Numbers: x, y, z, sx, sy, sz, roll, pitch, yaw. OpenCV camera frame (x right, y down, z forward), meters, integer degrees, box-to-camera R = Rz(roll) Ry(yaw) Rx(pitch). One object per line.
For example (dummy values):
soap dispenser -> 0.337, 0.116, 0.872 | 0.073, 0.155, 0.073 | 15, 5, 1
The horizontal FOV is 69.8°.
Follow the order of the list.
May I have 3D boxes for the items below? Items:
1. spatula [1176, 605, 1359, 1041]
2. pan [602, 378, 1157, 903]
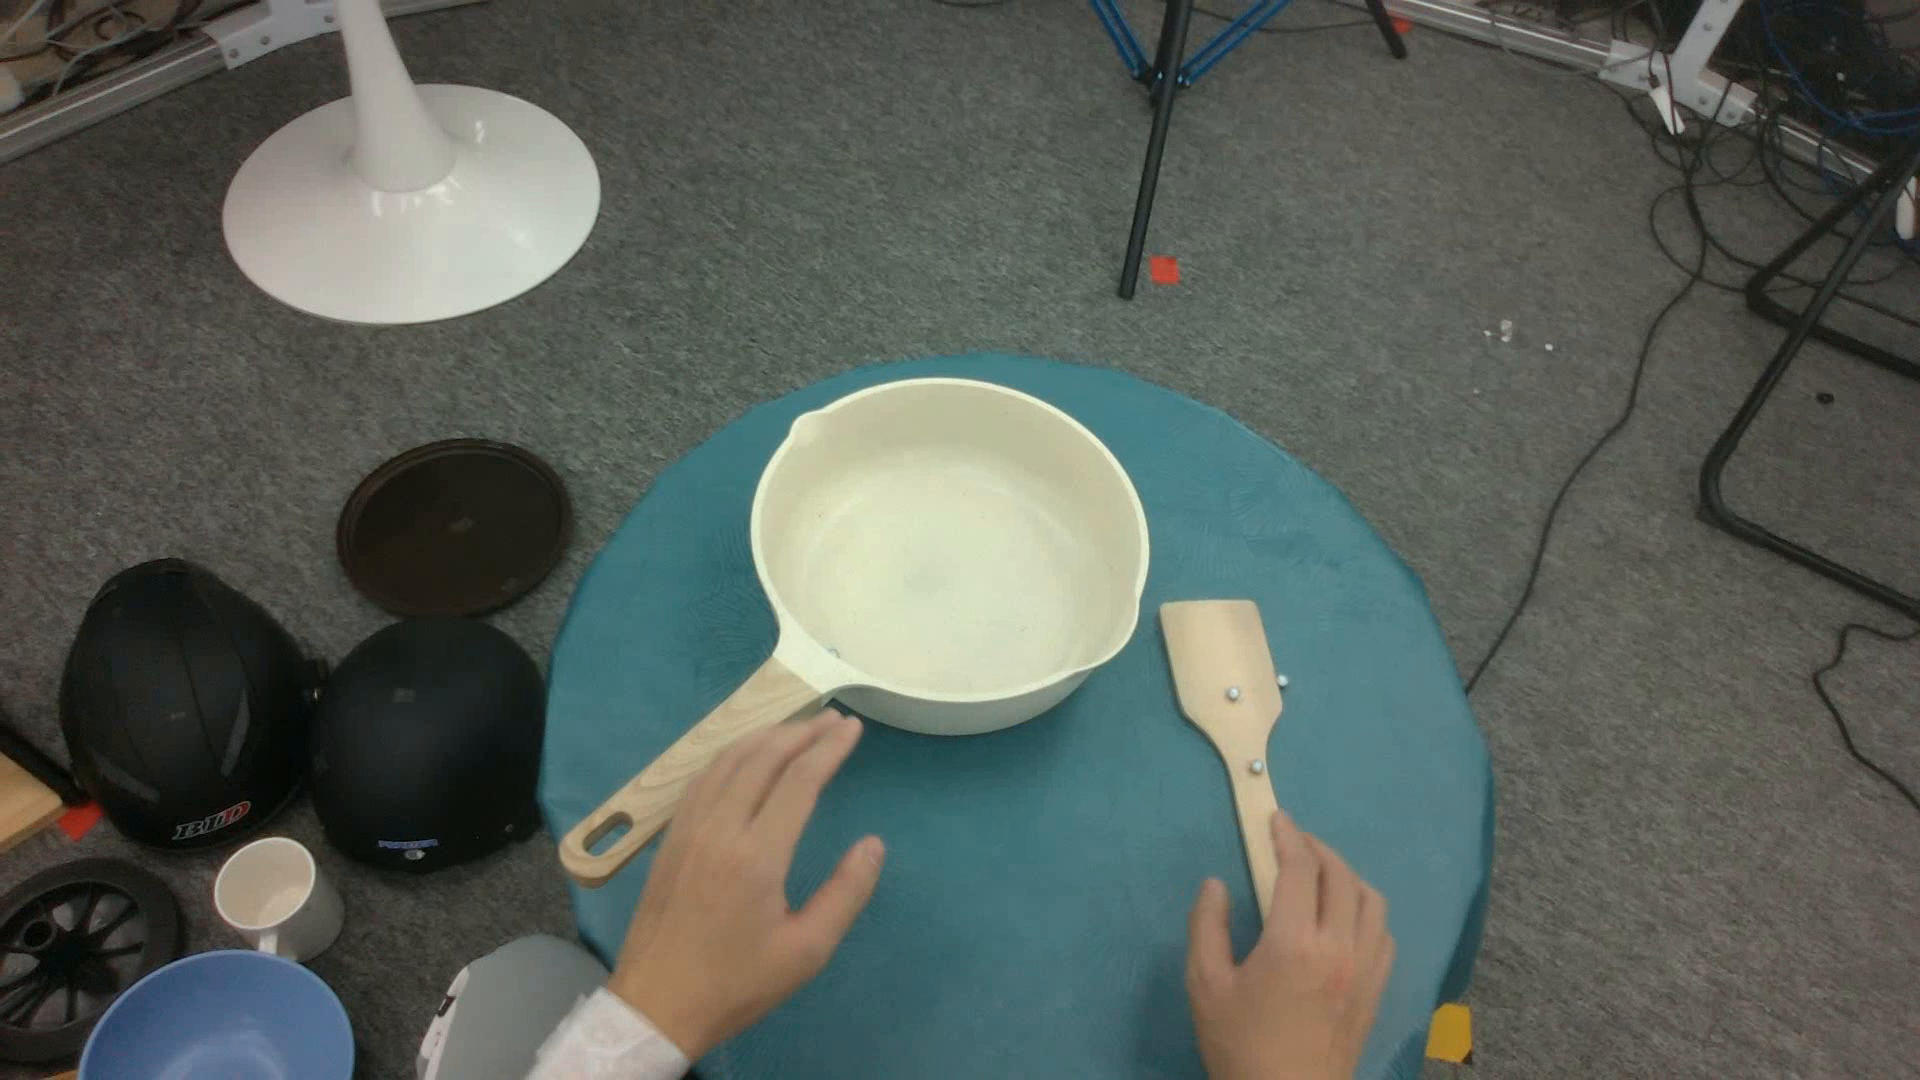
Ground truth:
spatula -> 0.198, 0.165, 0.861 | 0.072, 0.010, 0.294 | -2, 53, -8
pan -> -0.056, 0.068, 0.856 | 0.263, 0.101, 0.437 | 33, 58, 17
